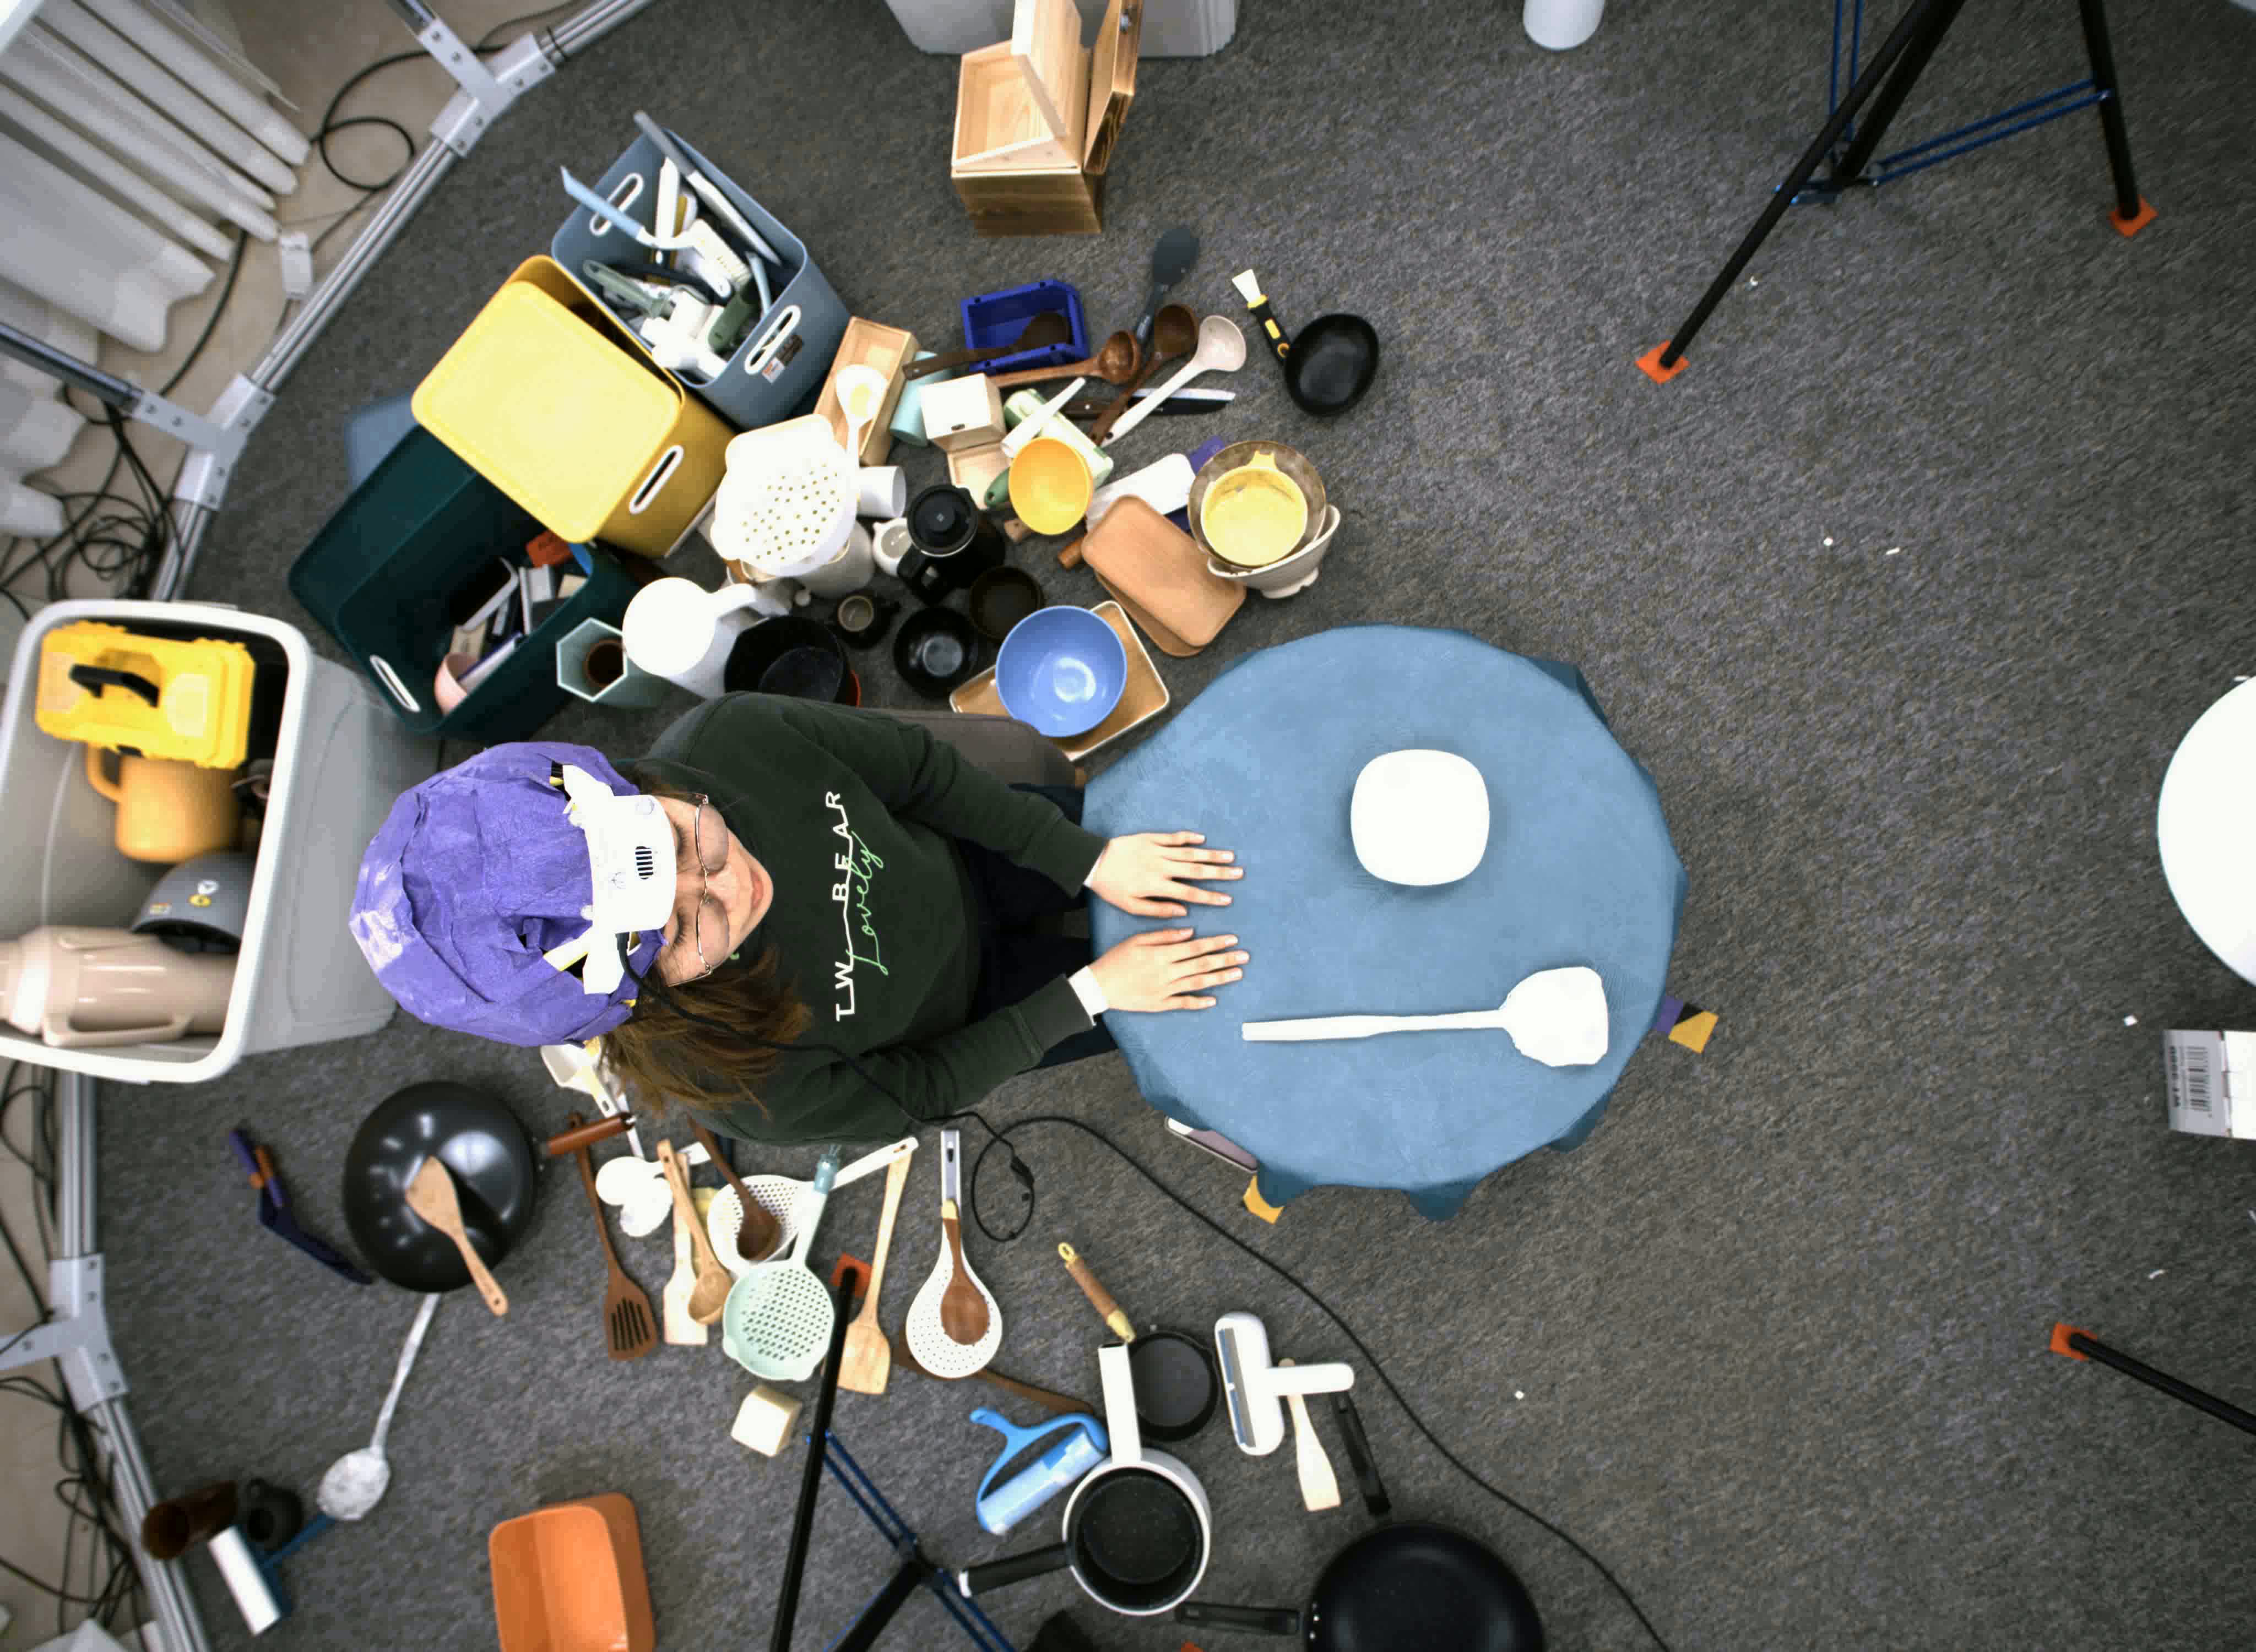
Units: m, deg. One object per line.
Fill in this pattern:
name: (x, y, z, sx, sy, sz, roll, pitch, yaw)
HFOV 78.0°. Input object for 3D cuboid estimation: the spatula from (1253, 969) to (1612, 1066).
spatula: (0.309, 0.200, 1.429, 0.366, 0.045, 0.098, -3, 87, 10)

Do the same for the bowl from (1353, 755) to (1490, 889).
bowl: (0.304, -0.003, 1.436, 0.152, 0.059, 0.150, -1, 84, 9)
